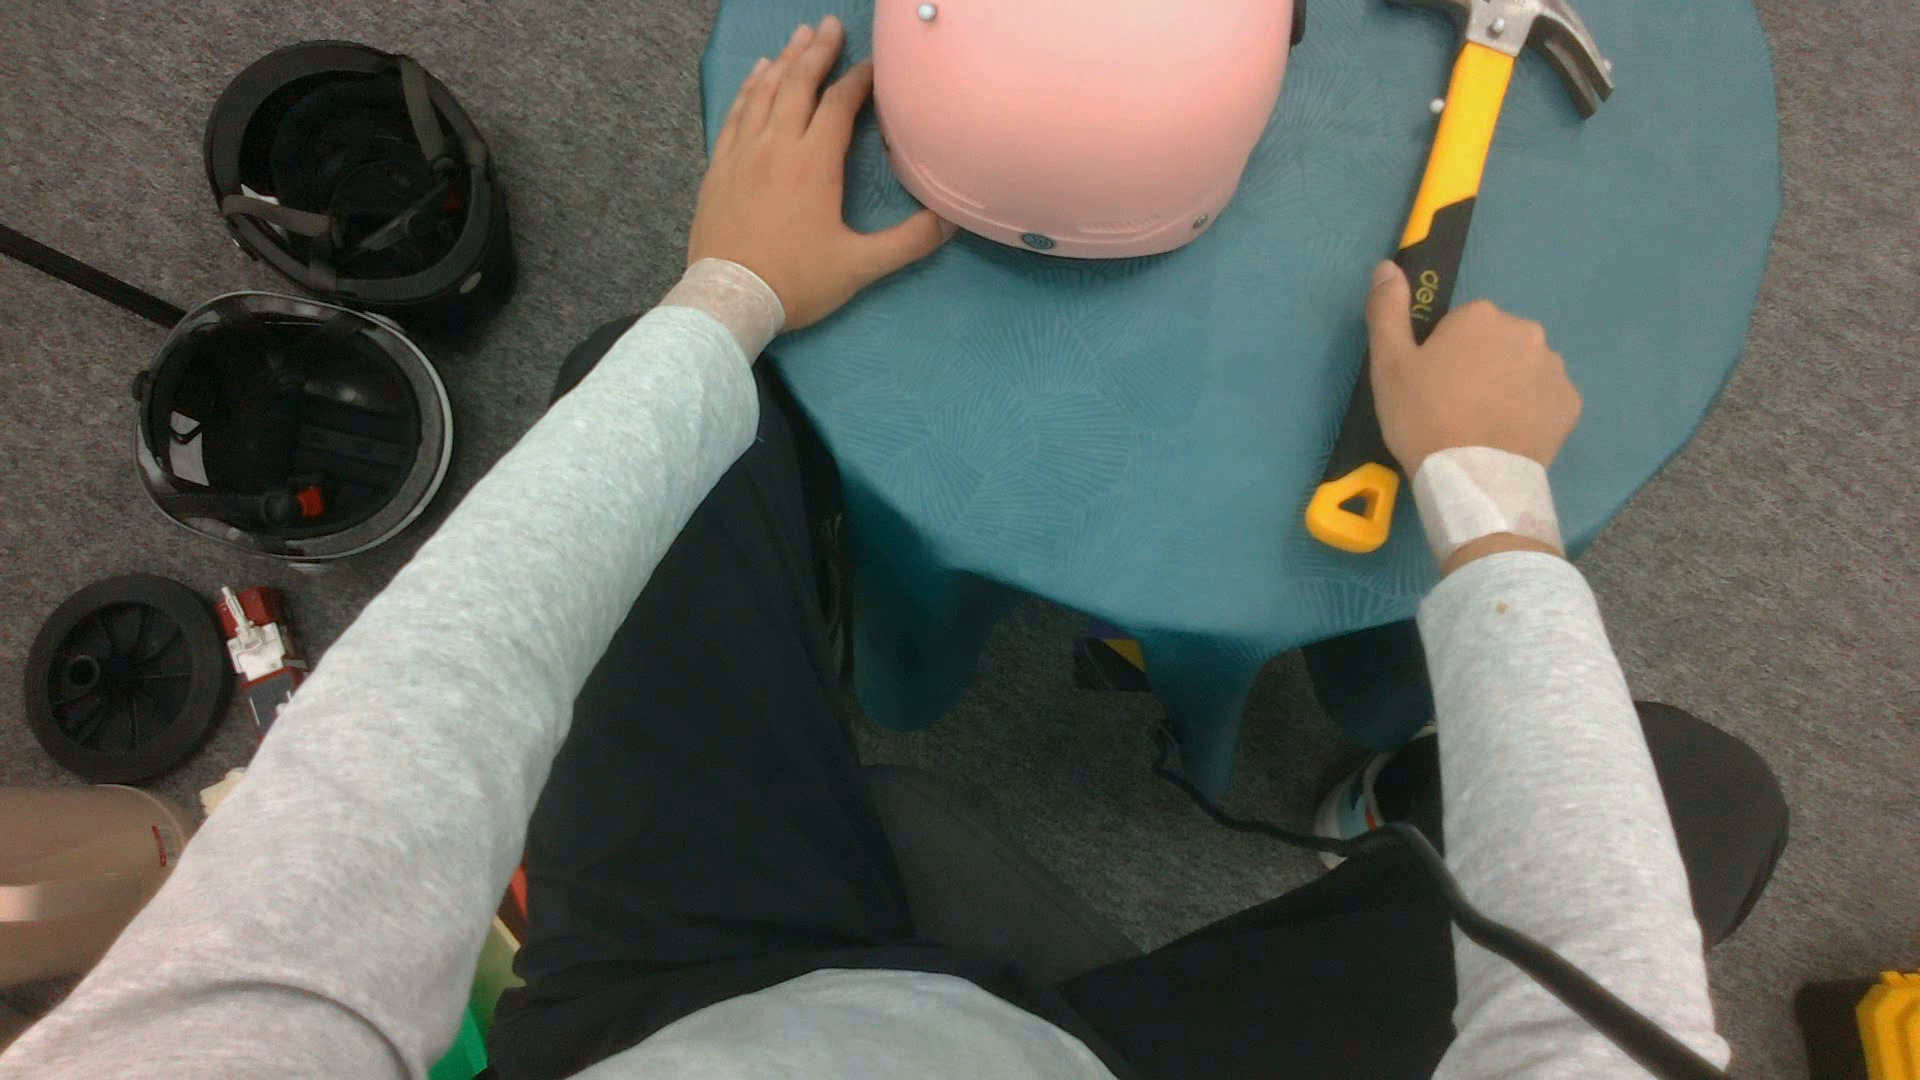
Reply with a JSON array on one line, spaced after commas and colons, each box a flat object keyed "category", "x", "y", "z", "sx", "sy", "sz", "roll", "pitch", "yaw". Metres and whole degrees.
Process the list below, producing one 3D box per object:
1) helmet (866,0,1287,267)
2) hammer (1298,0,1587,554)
[{"category": "helmet", "x": 0.061, "y": -0.284, "z": 0.719, "sx": 0.234, "sy": 0.158, "sz": 0.266, "roll": 12, "pitch": 76, "yaw": 3}, {"category": "hammer", "x": 0.246, "y": -0.154, "z": 0.748, "sx": 0.131, "sy": 0.032, "sz": 0.339, "roll": 18, "pitch": 79, "yaw": 3}]
